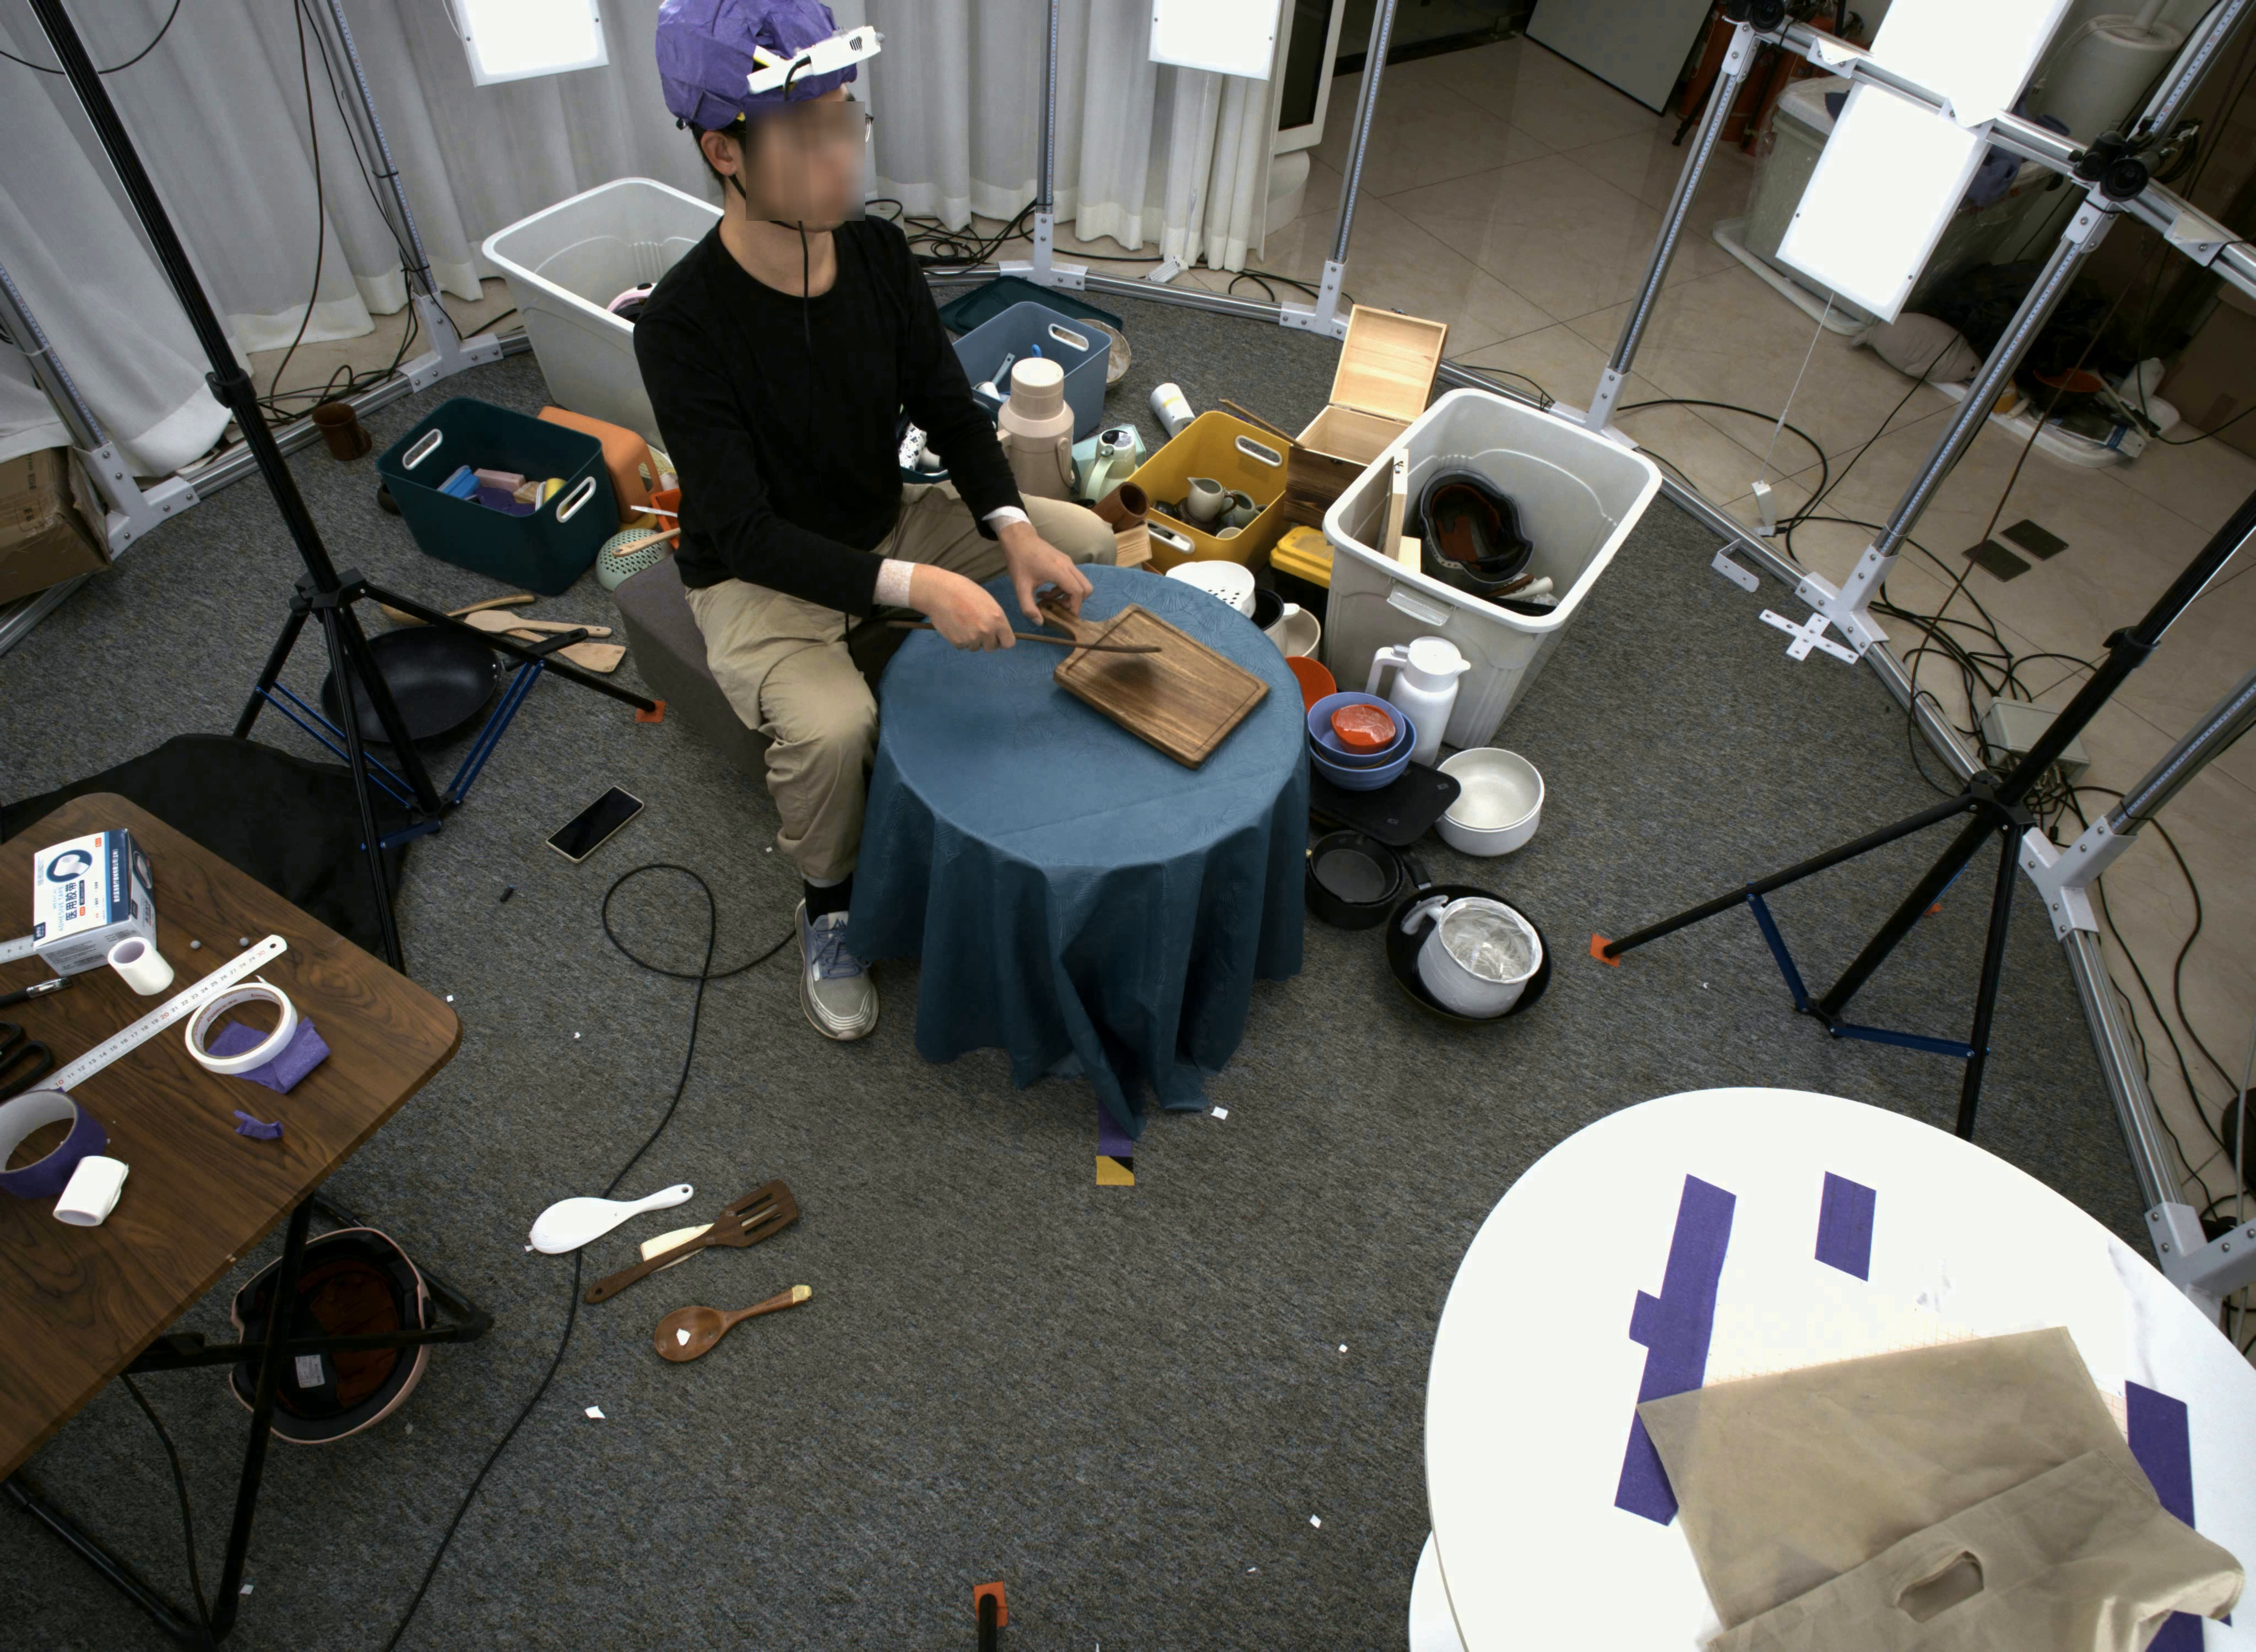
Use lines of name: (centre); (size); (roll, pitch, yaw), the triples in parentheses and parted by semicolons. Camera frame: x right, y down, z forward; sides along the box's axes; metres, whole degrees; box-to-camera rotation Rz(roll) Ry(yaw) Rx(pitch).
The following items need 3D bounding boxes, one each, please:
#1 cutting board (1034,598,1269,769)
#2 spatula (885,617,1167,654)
cutting board: (0.009, -0.232, 1.839); (0.355, 0.022, 0.204); (33, 55, 17)
spatula: (-0.134, -0.257, 1.744); (0.384, 0.016, 0.097); (5, 7, -17)
